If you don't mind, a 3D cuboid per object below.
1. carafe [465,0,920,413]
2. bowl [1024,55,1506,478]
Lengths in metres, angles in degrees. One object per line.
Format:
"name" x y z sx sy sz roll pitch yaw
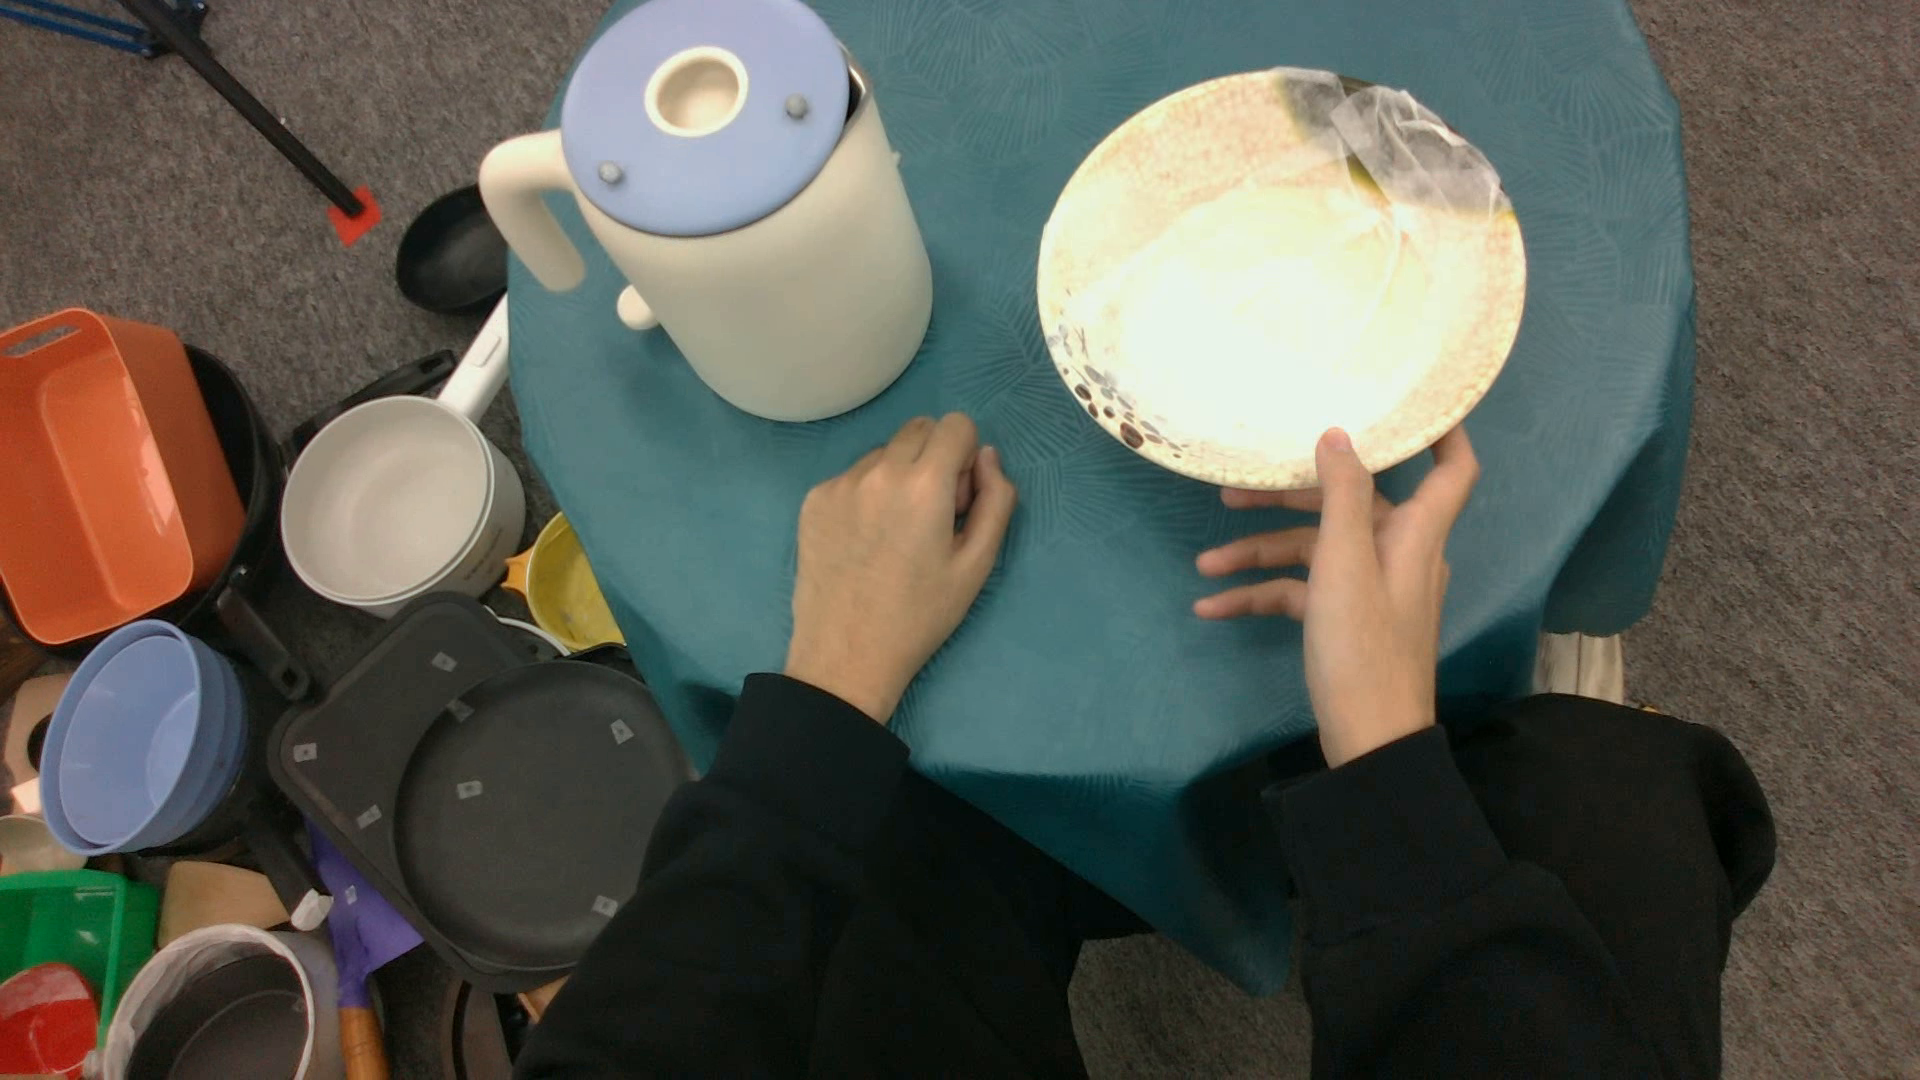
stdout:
"carafe" -0.120 -0.147 0.627 0.191 0.182 0.132 -6 68 9
"bowl" 0.134 -0.112 0.627 0.204 0.078 0.204 -3 72 8
